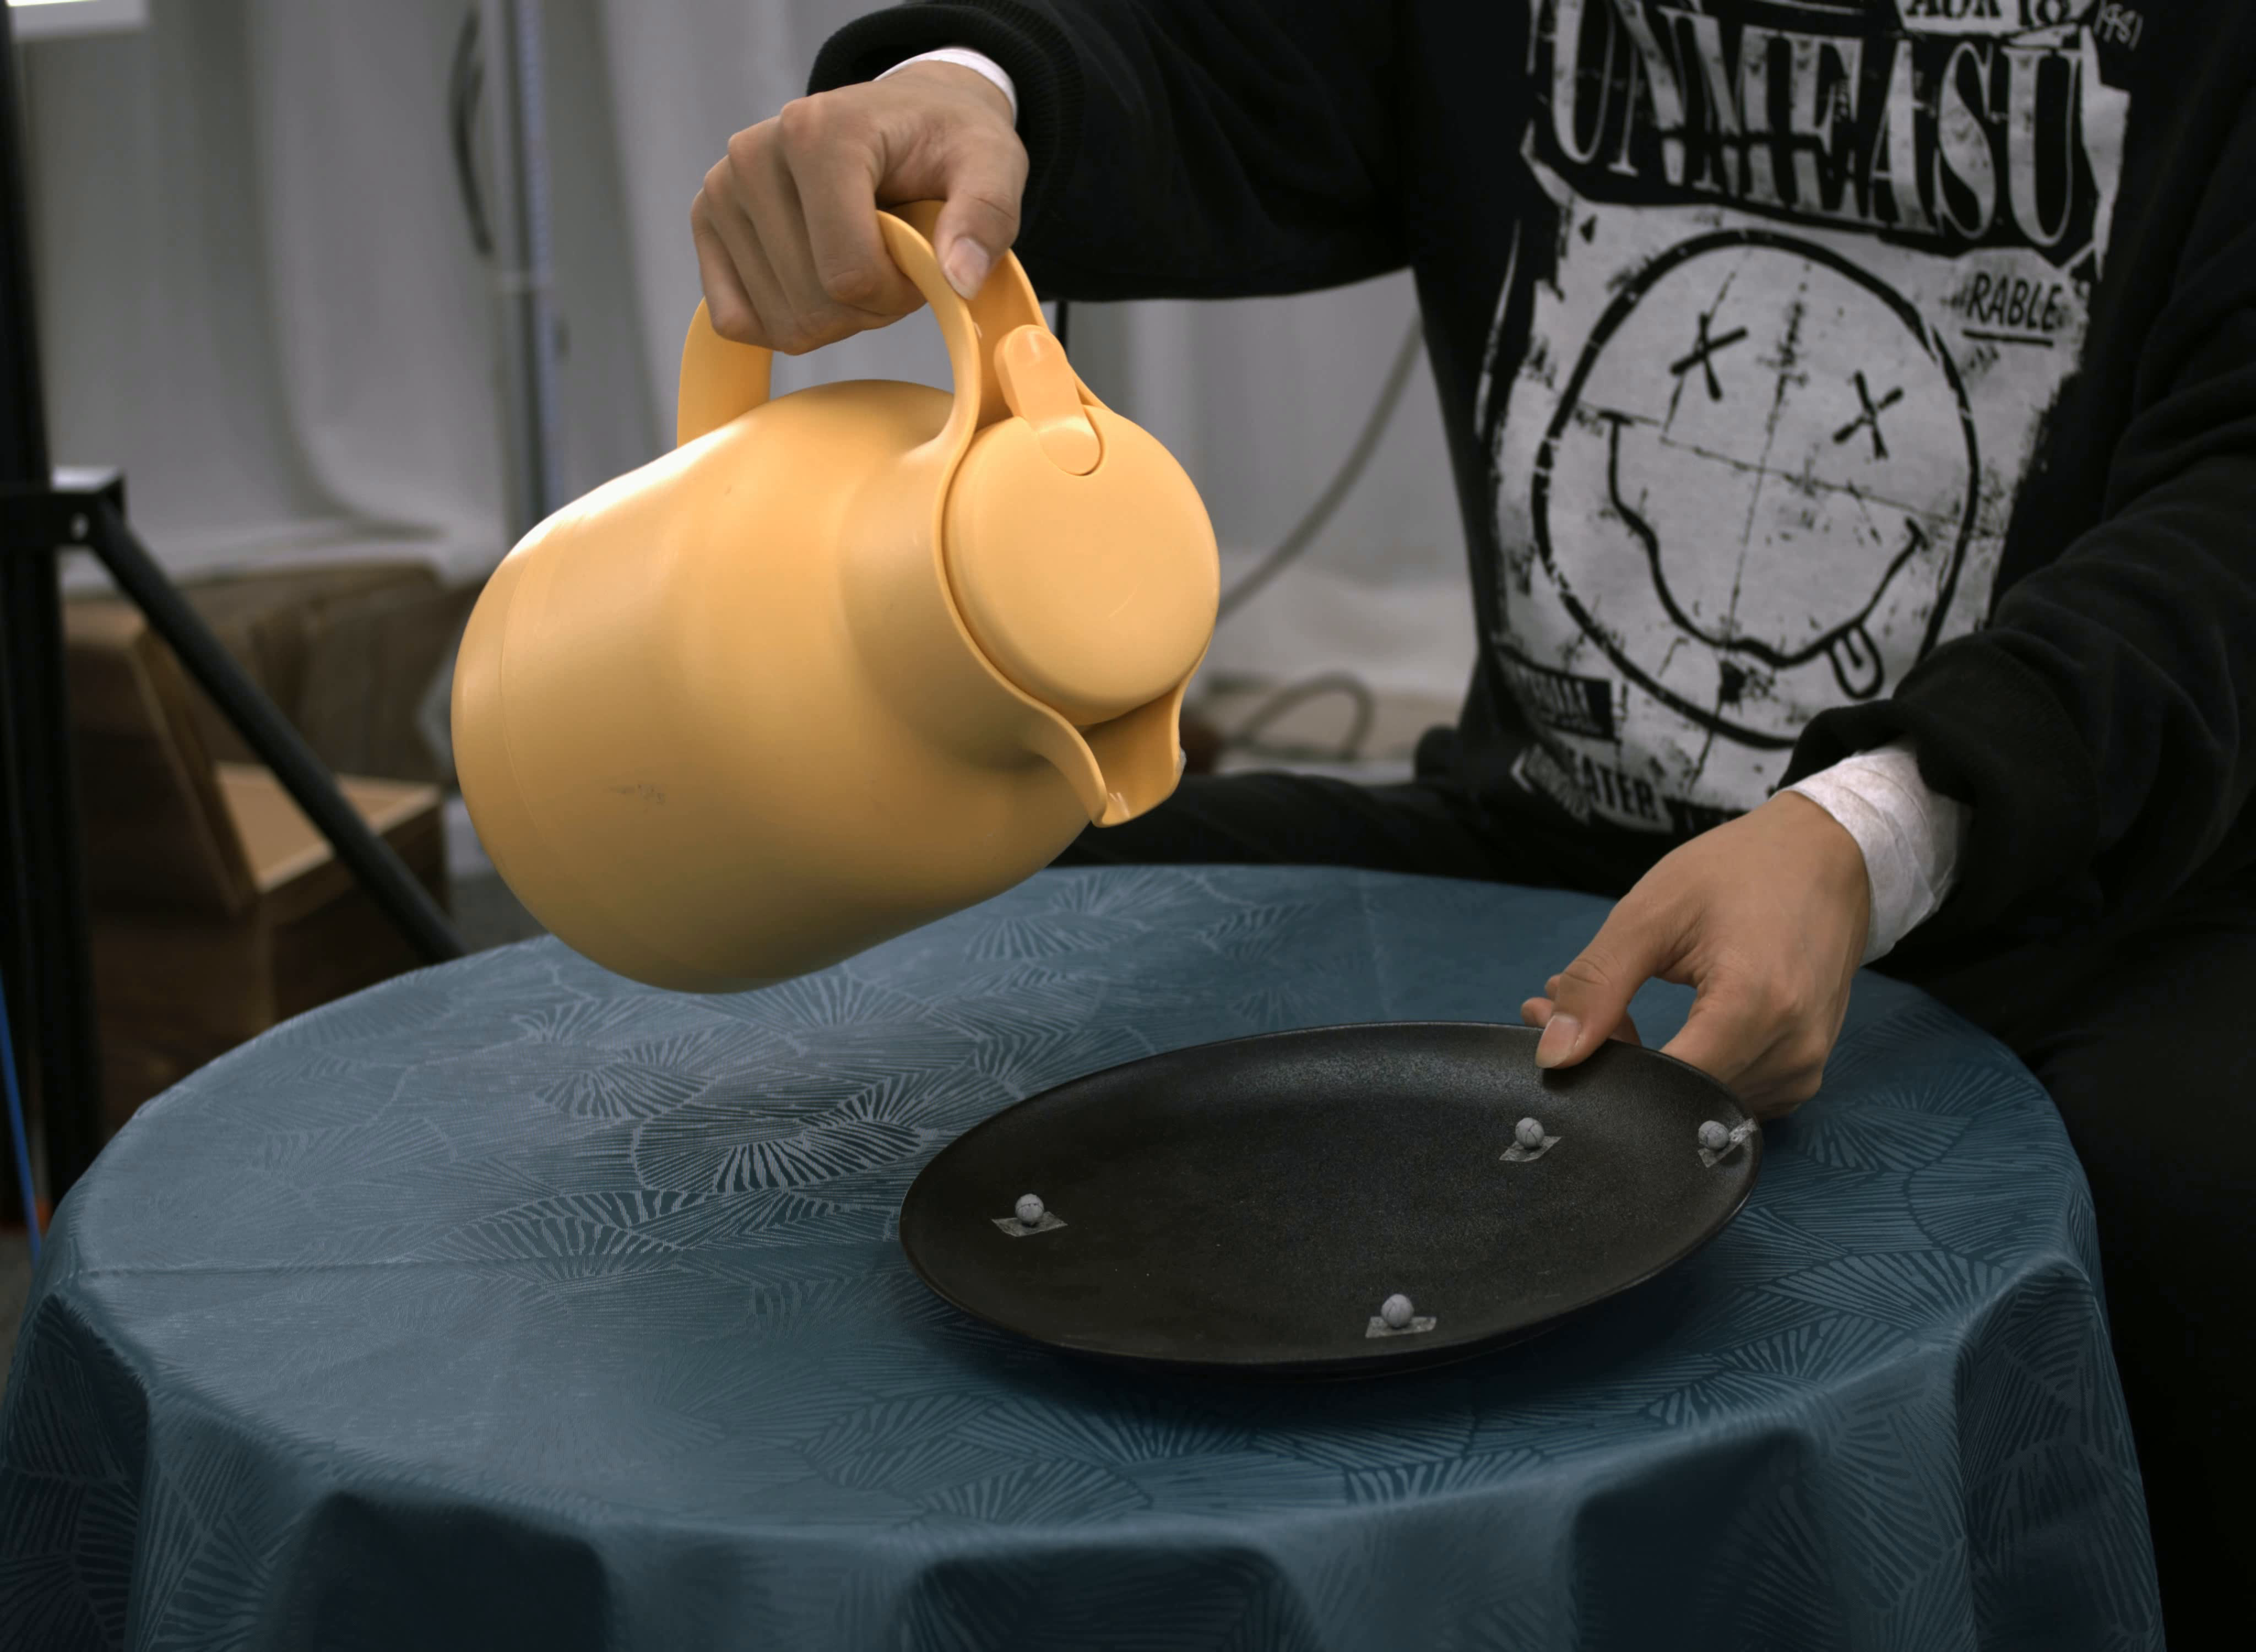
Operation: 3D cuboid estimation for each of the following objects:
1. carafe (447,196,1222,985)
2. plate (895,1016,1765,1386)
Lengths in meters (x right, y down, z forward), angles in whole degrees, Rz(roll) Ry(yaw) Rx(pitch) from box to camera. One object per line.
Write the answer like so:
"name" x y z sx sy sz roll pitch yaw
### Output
"carafe" -0.083 -0.069 1.576 0.159 0.204 0.265 -8 -7 -38
"plate" 0.057 0.108 1.476 0.243 0.023 0.246 -7 19 1
